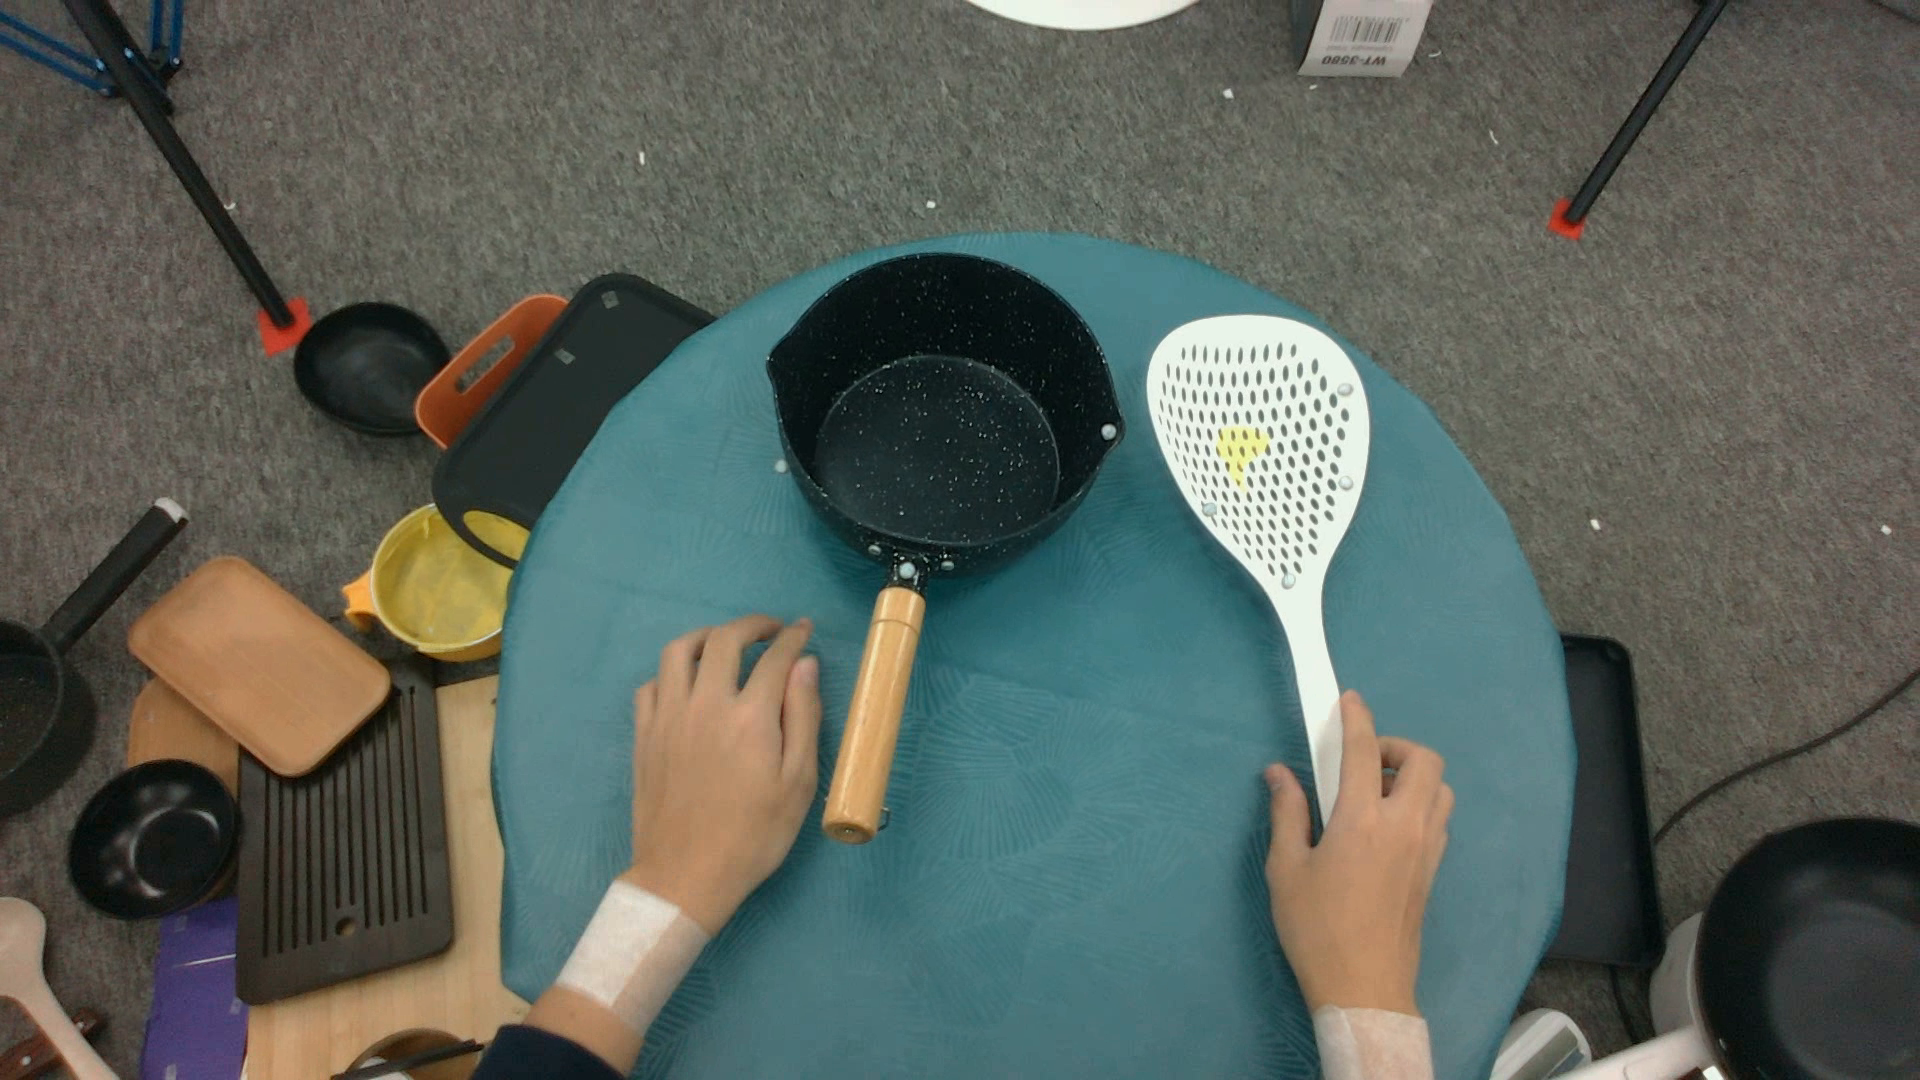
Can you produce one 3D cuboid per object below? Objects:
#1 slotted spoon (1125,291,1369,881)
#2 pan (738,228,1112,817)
[{"bbox_3d":[0.178,0.015,0.780,0.137,0.050,0.349,-4,65,-13],"label":"slotted spoon"},{"bbox_3d":[-0.032,-0.009,0.736,0.207,0.108,0.344,10,64,-2],"label":"pan"}]
